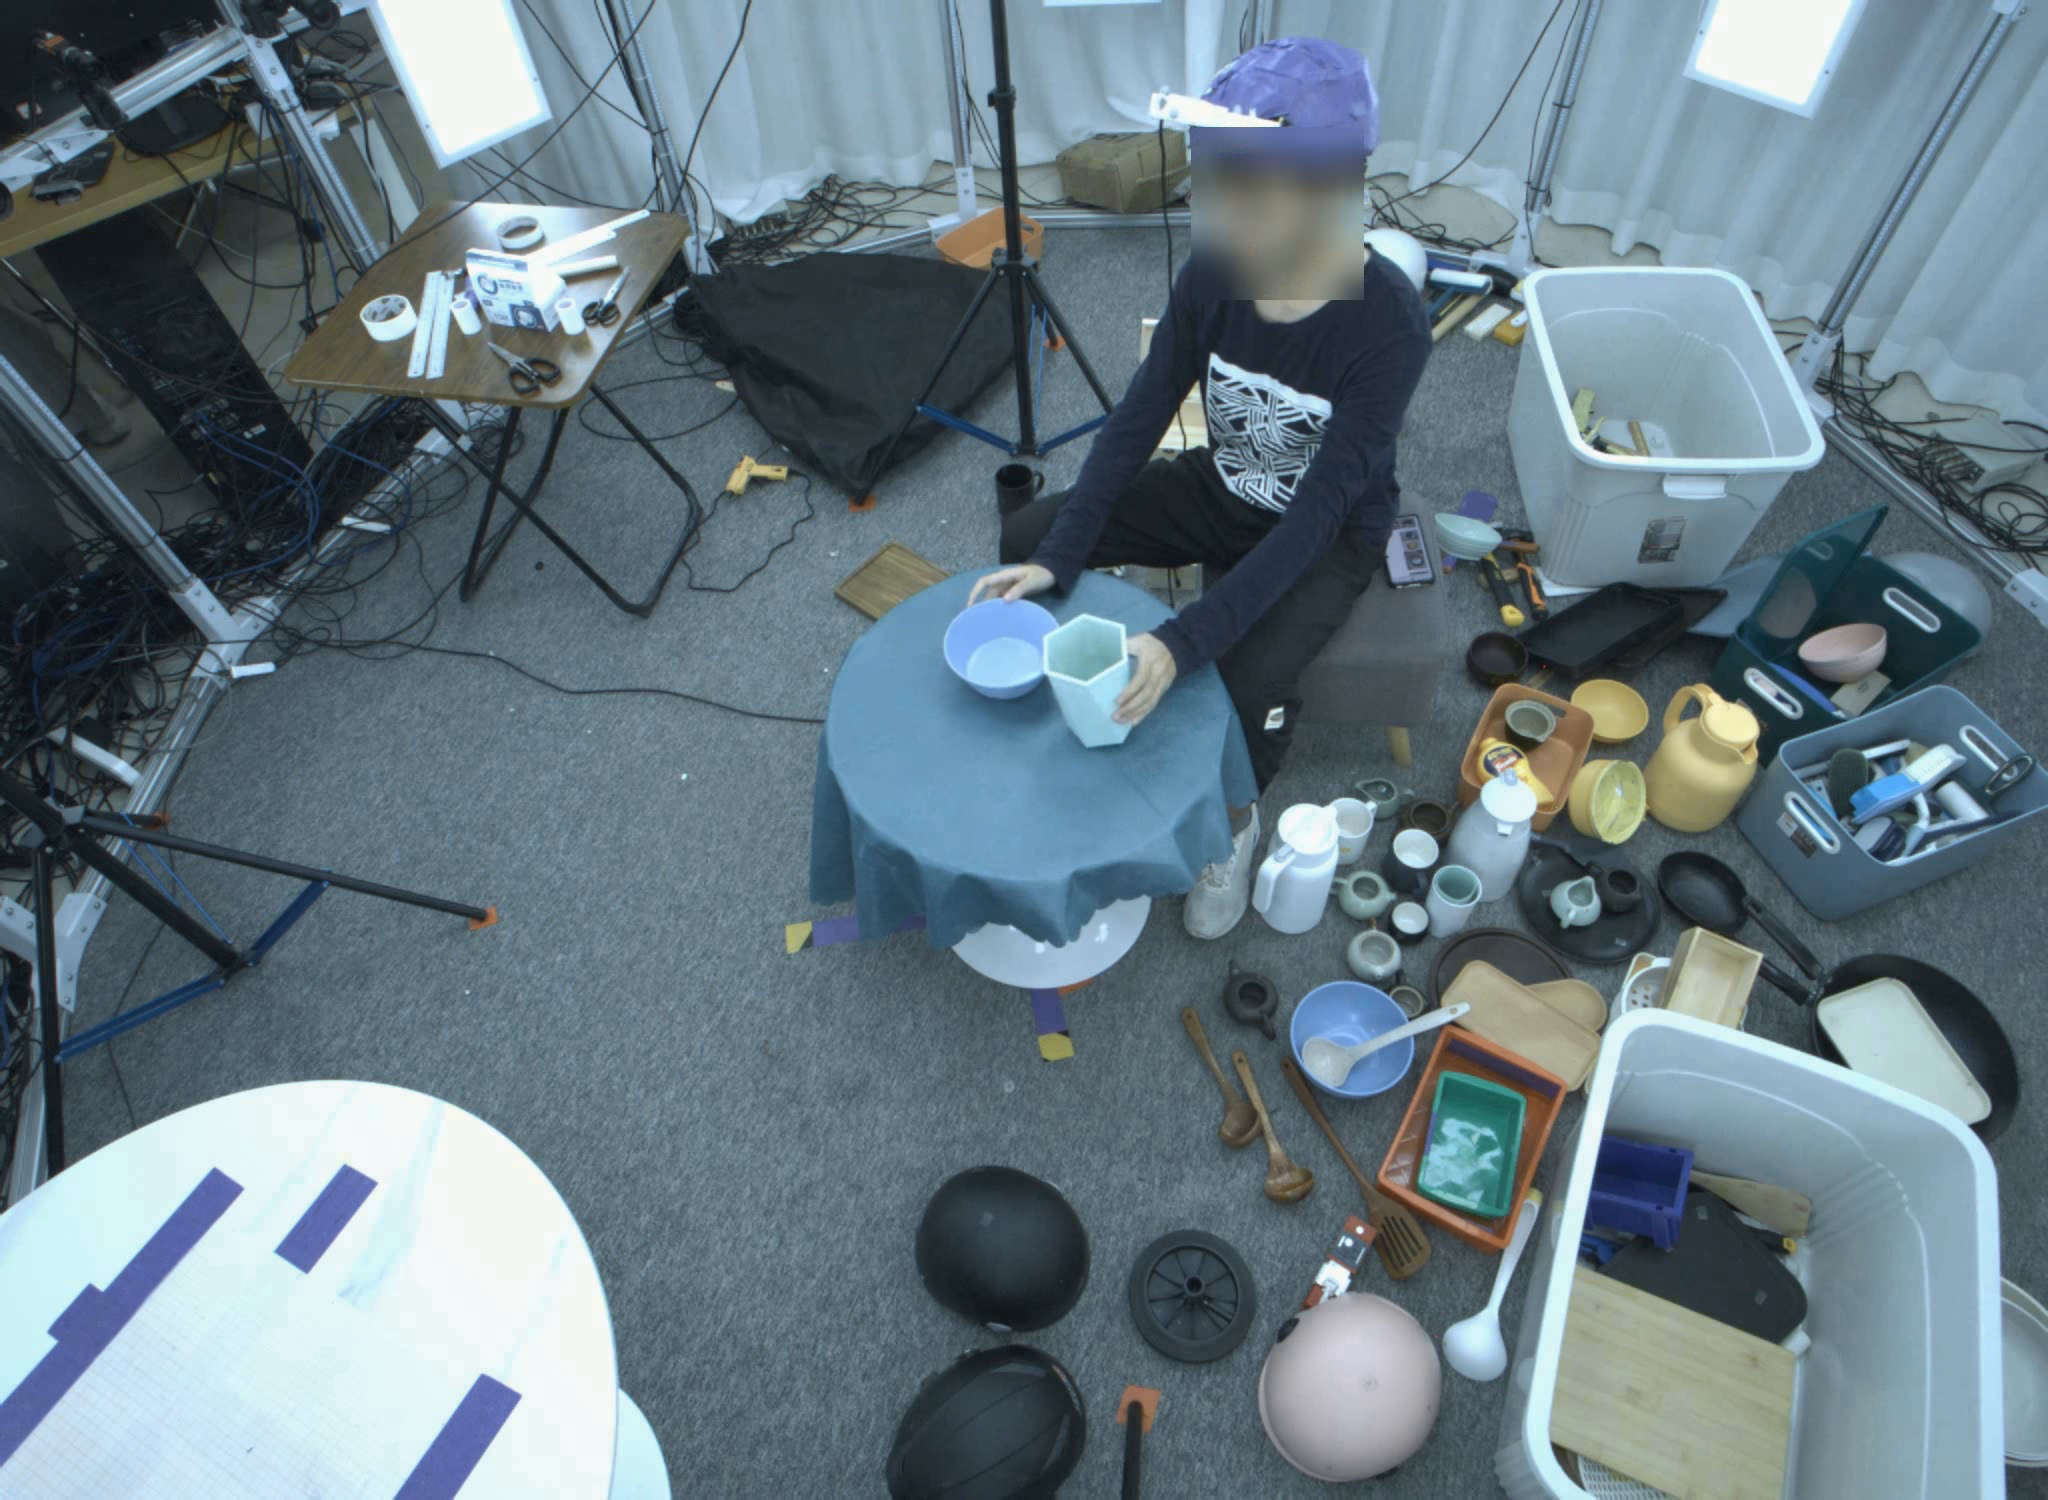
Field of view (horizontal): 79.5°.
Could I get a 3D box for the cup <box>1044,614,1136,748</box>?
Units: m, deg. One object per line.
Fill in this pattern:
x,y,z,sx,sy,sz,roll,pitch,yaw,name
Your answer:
0.098,-0.089,1.730,0.129,0.165,0.115,17,58,22,cup

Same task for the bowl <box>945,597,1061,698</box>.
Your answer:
-0.029,-0.143,1.839,0.176,0.071,0.174,0,54,2,bowl
